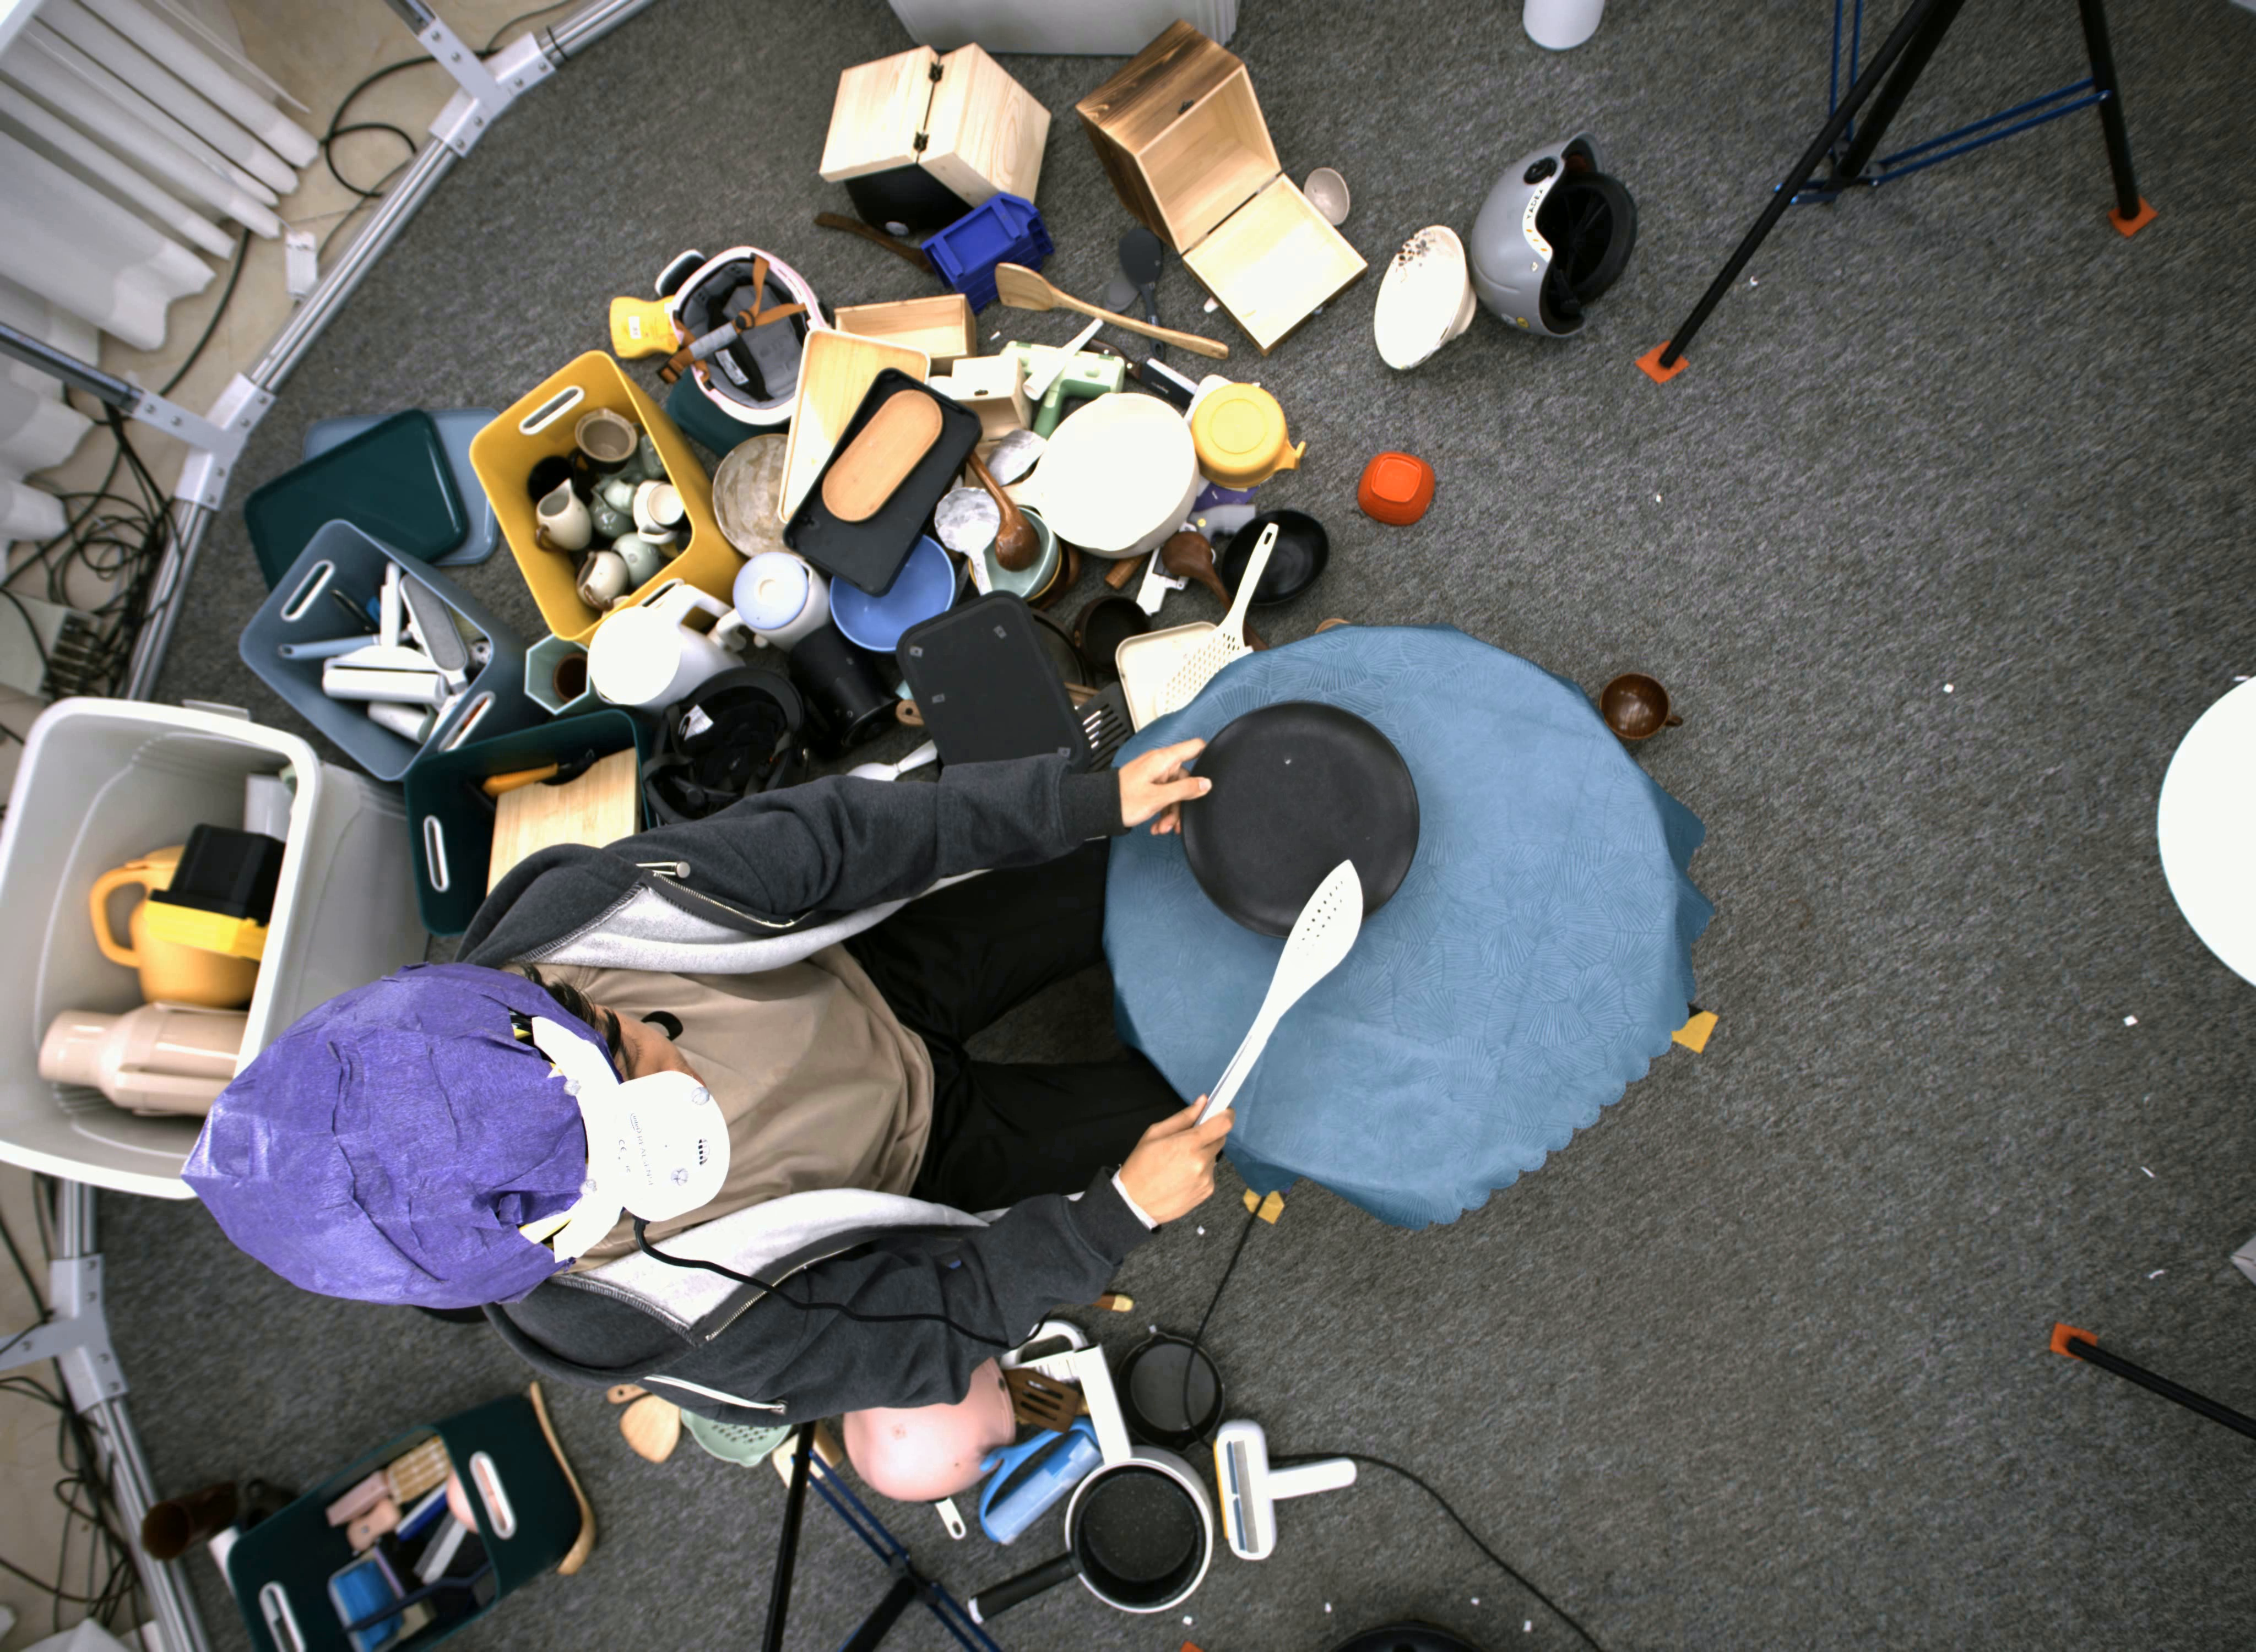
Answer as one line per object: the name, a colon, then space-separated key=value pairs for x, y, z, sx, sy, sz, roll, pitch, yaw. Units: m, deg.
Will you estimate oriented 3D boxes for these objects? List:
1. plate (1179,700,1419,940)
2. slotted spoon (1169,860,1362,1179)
plate: x=0.173 y=-0.006 z=1.400 sx=0.244 sy=0.023 sz=0.245 roll=0 pitch=95 yaw=-1
slotted spoon: x=0.132 y=0.189 z=1.344 sx=0.046 sy=0.135 sz=0.351 roll=34 pitch=95 yaw=-4
